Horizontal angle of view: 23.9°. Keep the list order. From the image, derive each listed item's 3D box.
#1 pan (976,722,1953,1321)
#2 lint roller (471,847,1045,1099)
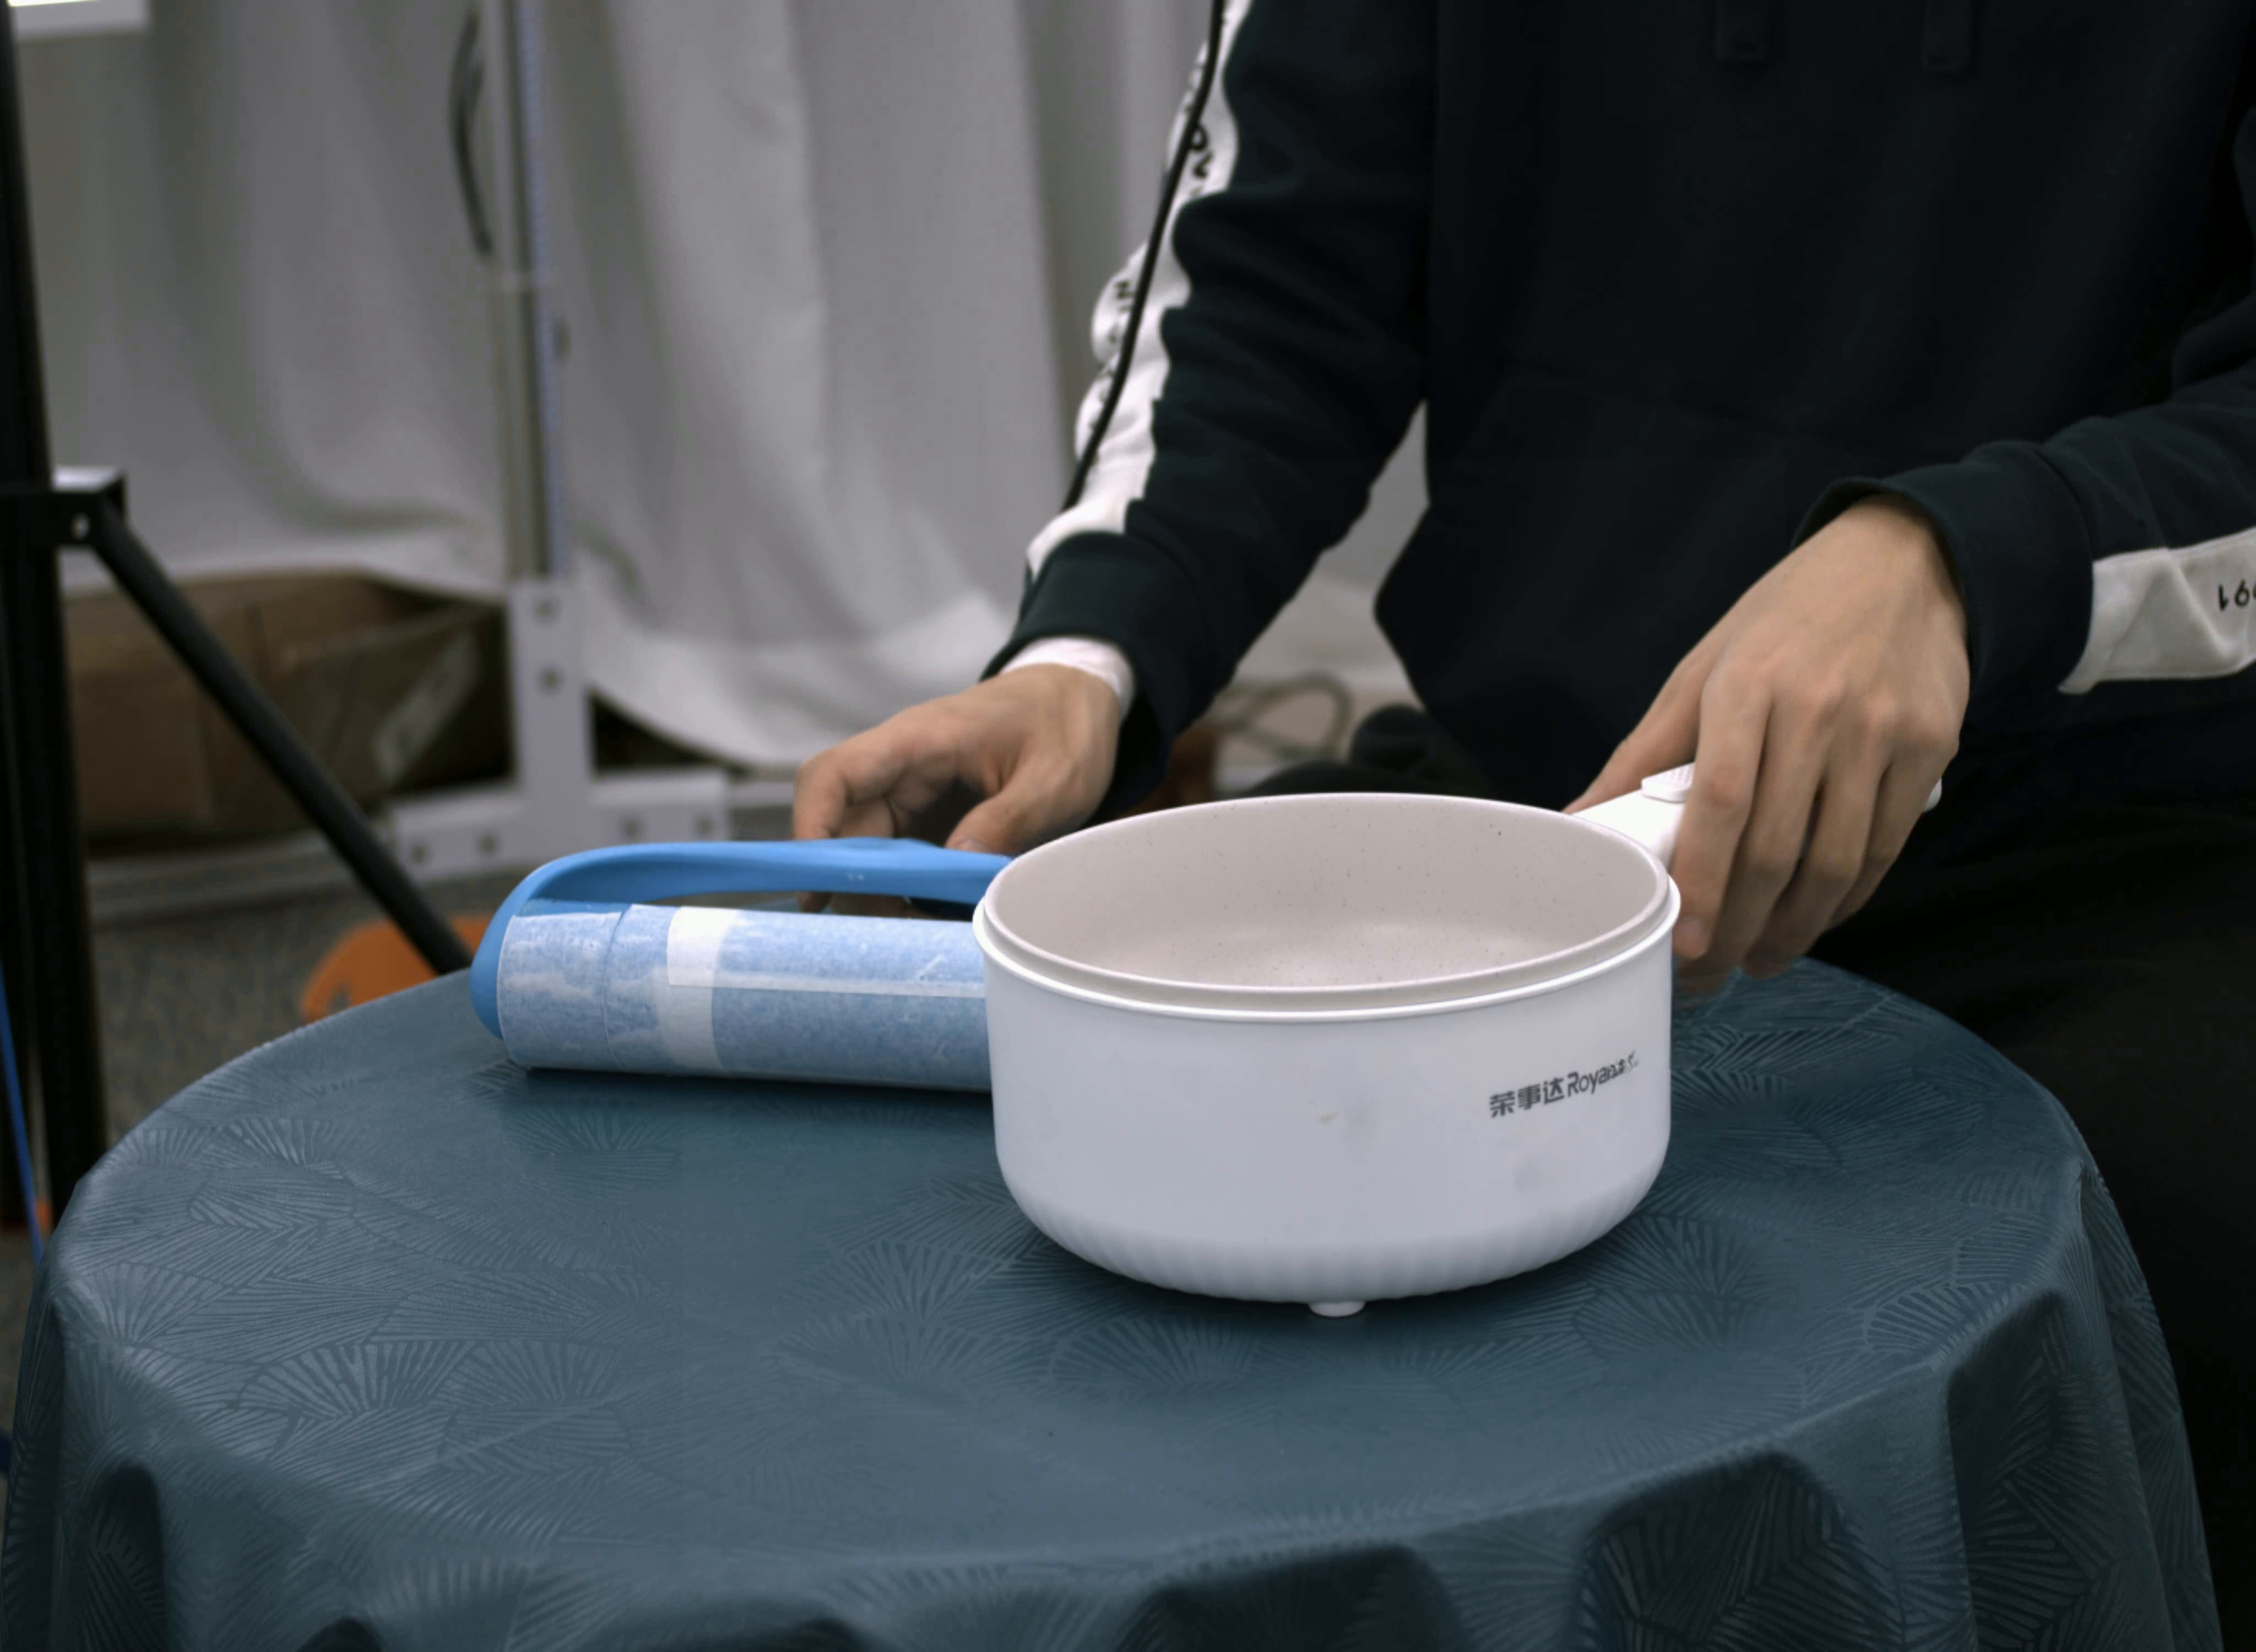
[{"bbox_3d":[0.114,0.051,1.560,0.346,0.102,0.206,-15,19,-39],"label":"pan"},{"bbox_3d":[-0.084,0.037,1.719,0.231,0.068,0.179,0,17,16],"label":"lint roller"}]
